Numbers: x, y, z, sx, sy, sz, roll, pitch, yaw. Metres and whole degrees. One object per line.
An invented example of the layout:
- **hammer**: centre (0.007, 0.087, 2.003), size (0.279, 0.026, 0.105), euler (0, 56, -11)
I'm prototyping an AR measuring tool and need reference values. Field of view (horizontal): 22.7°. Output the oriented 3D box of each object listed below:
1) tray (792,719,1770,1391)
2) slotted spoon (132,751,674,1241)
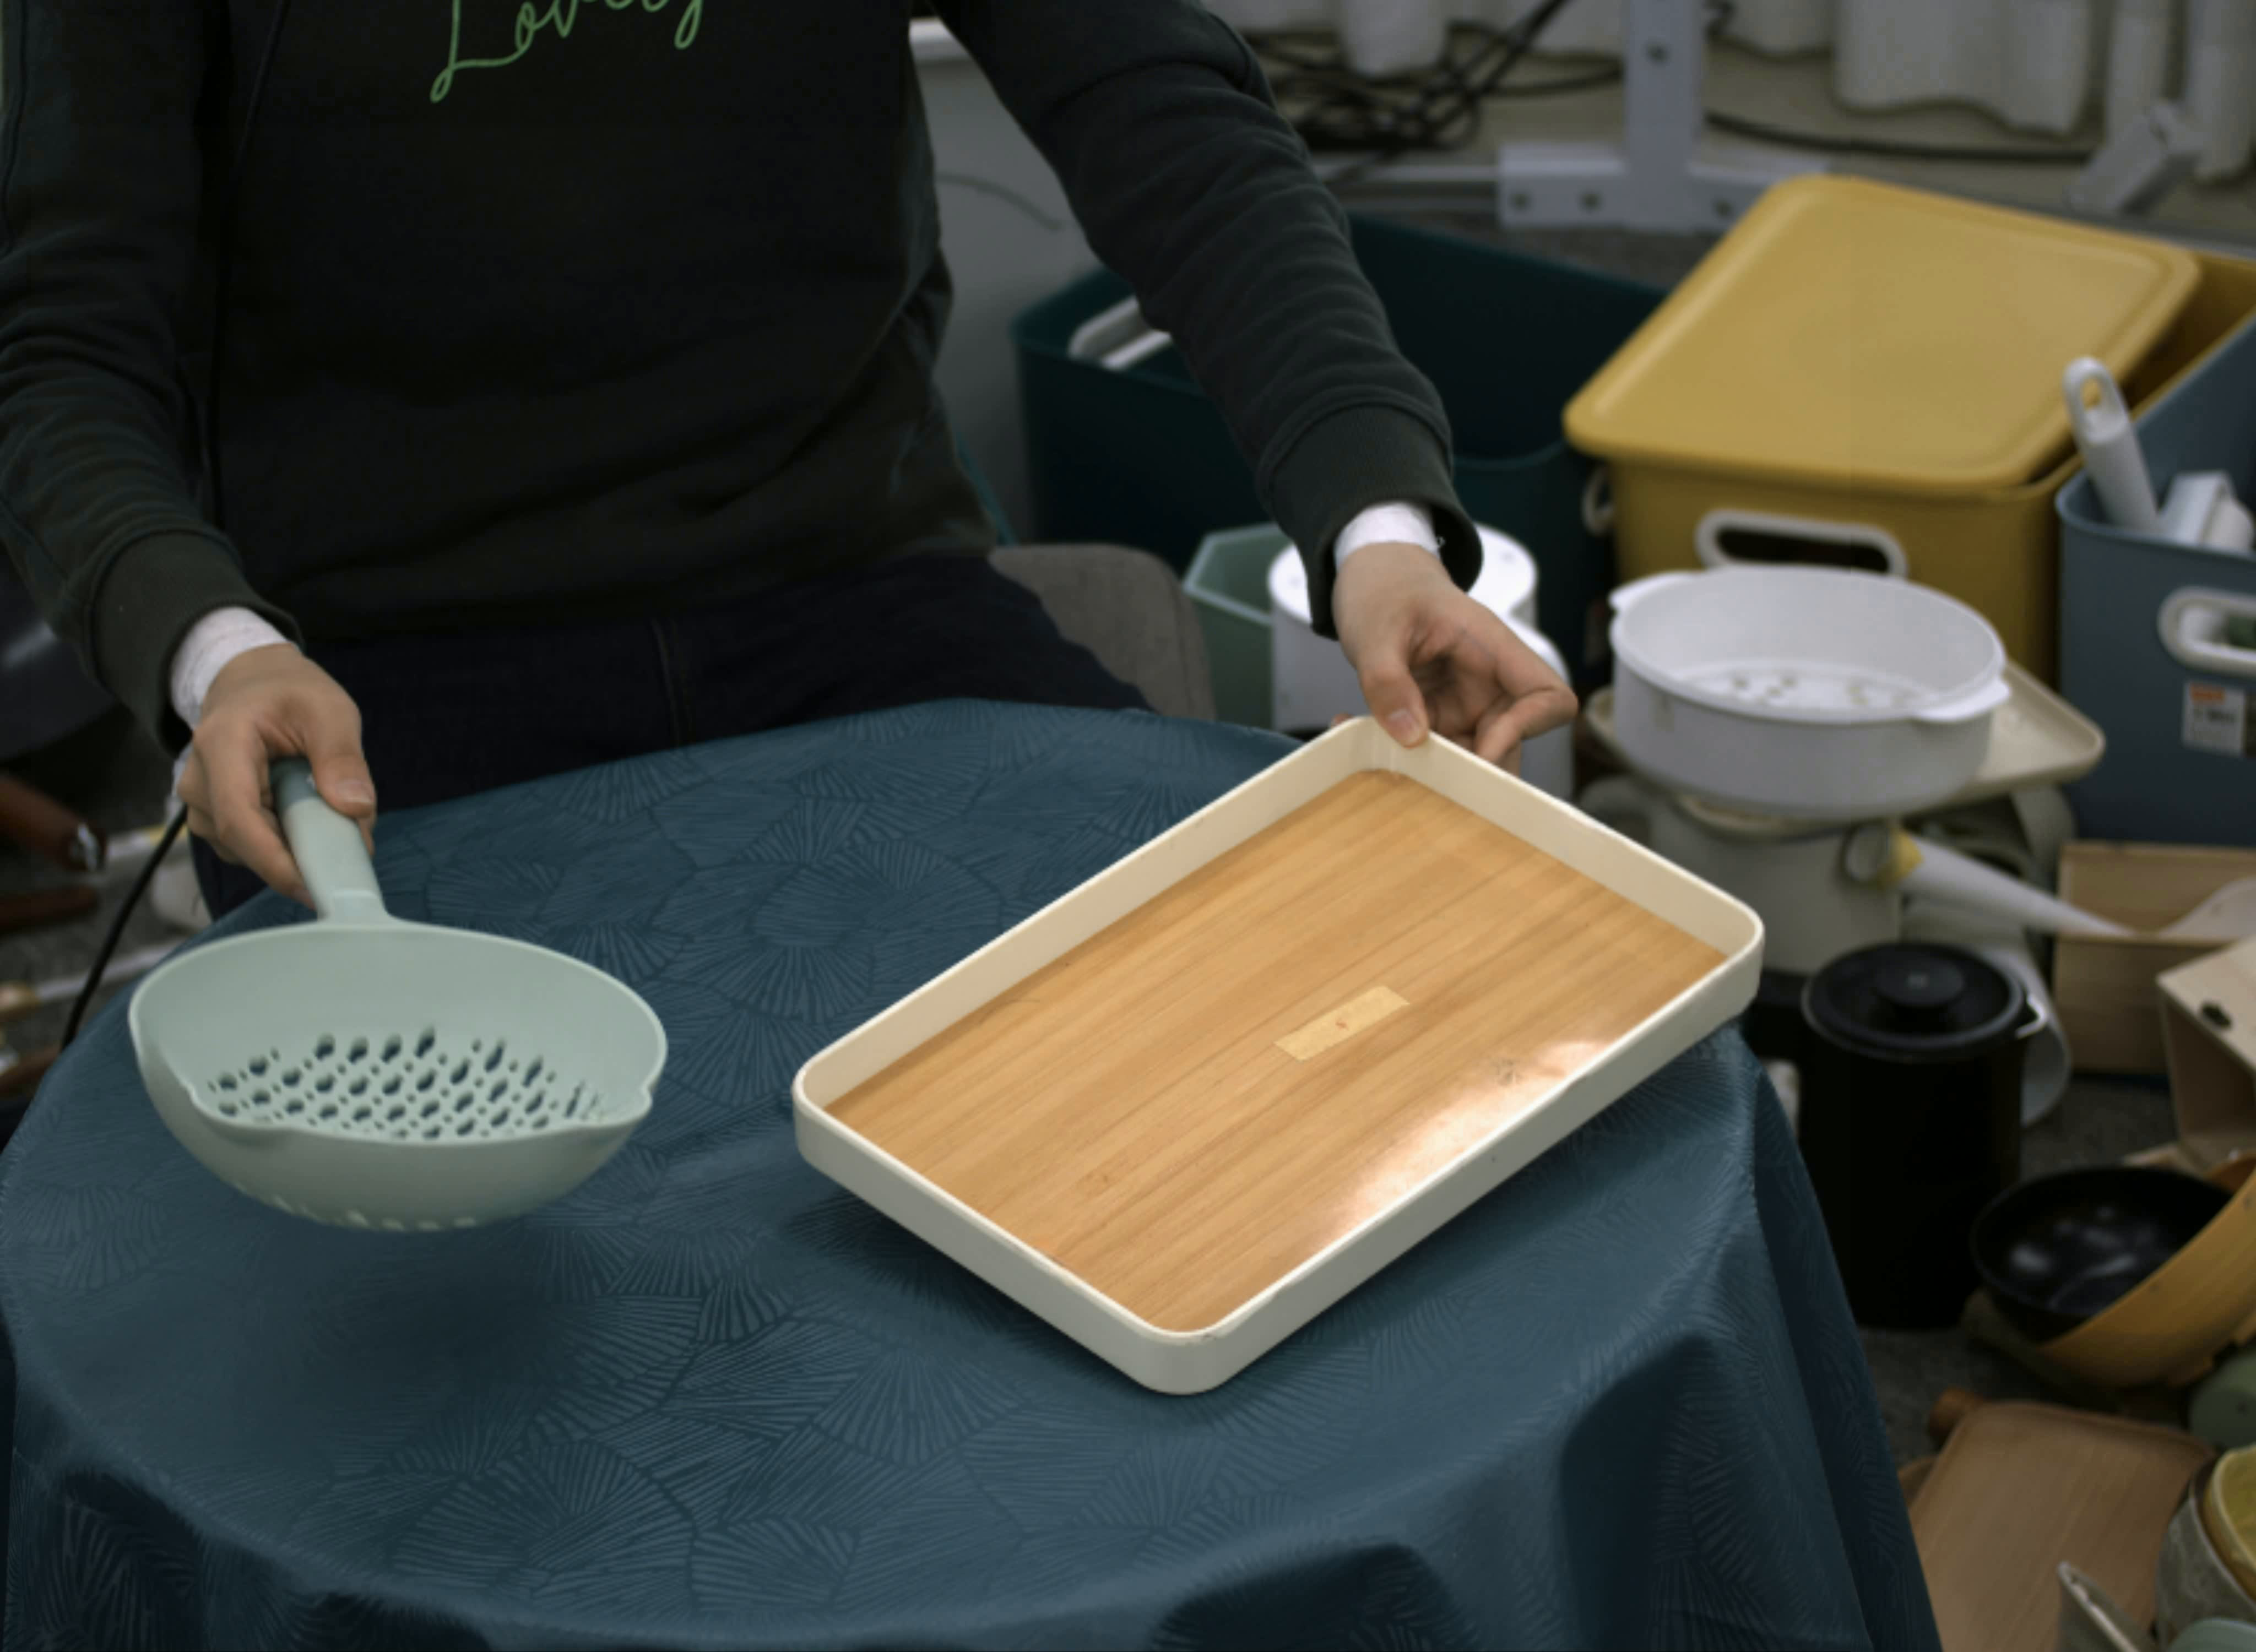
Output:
- **tray**: centre (0.053, 0.070, 1.878), size (0.192, 0.027, 0.304), euler (30, 45, 34)
- **slotted spoon**: centre (-0.253, 0.041, 1.857), size (0.169, 0.074, 0.363), euler (2, 29, -16)
